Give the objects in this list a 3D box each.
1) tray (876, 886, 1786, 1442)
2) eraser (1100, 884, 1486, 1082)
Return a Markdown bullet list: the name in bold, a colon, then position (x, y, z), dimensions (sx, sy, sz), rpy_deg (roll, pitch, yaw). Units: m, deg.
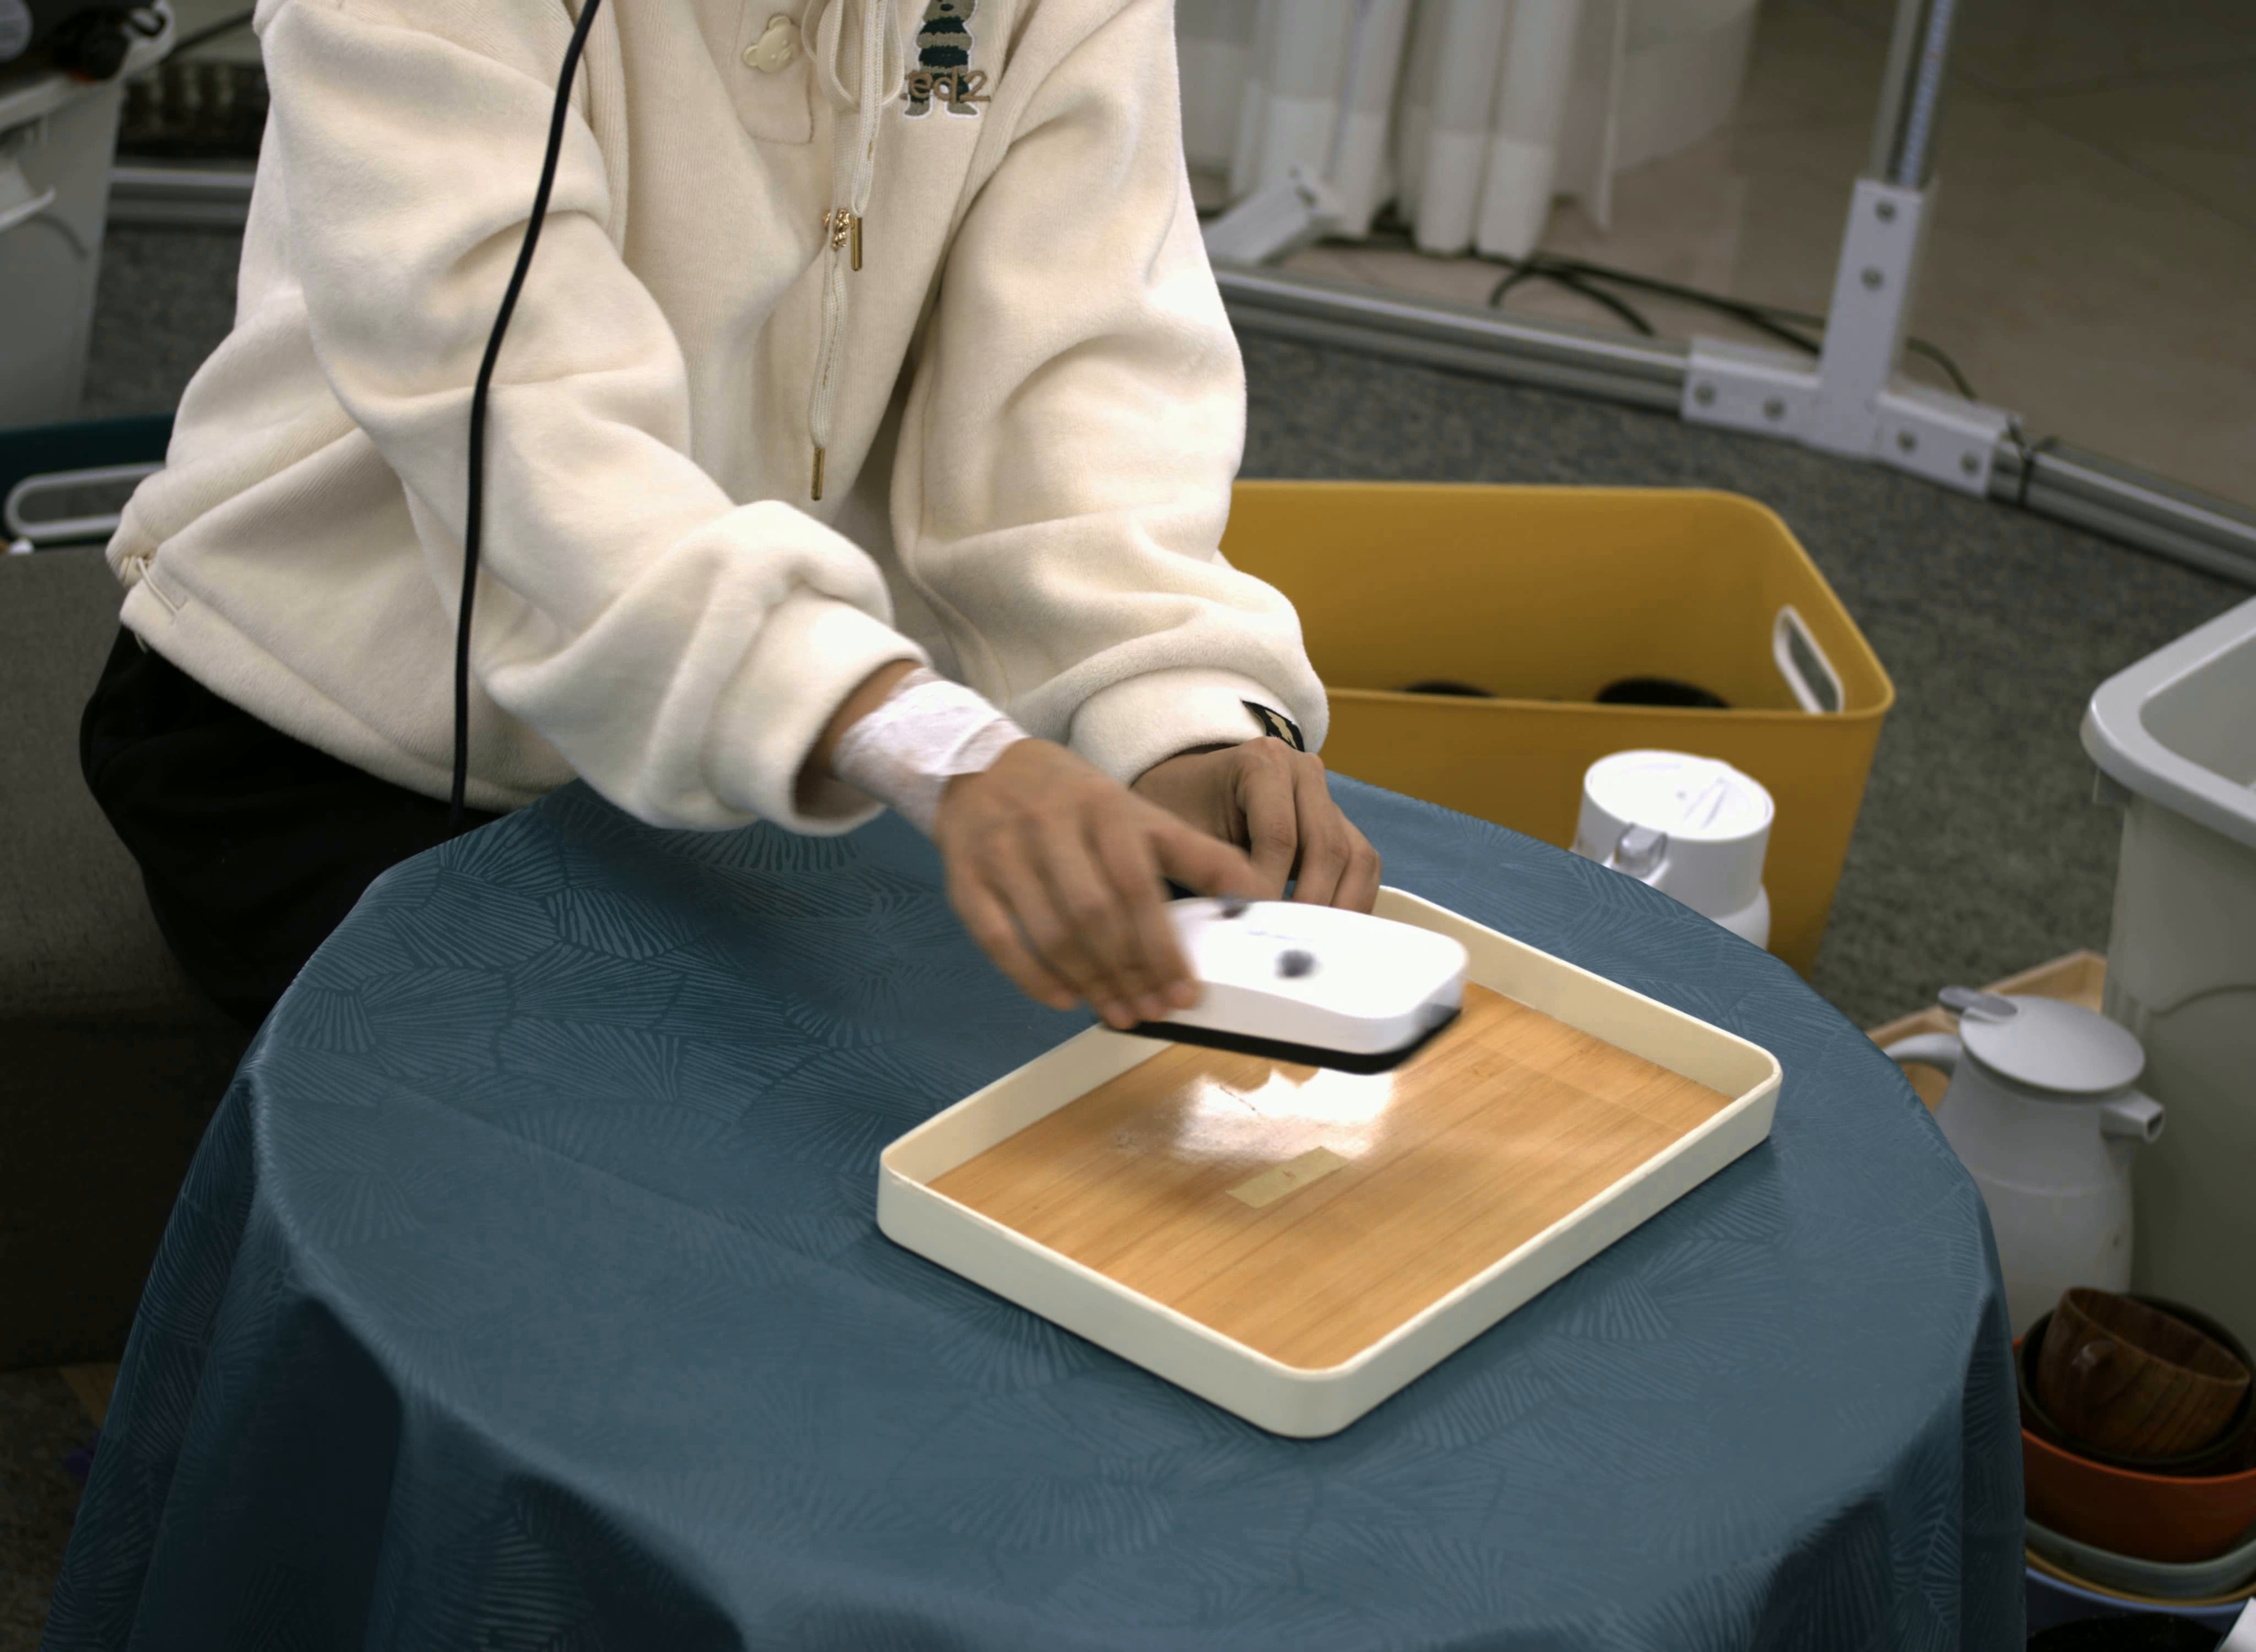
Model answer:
- **tray**: position (0.074, 0.109, 1.818), dimensions (0.193, 0.027, 0.299), rpy_deg (24, 32, 30)
- **eraser**: position (0.056, 0.051, 1.801), dimensions (0.132, 0.034, 0.063), rpy_deg (11, 31, 34)
